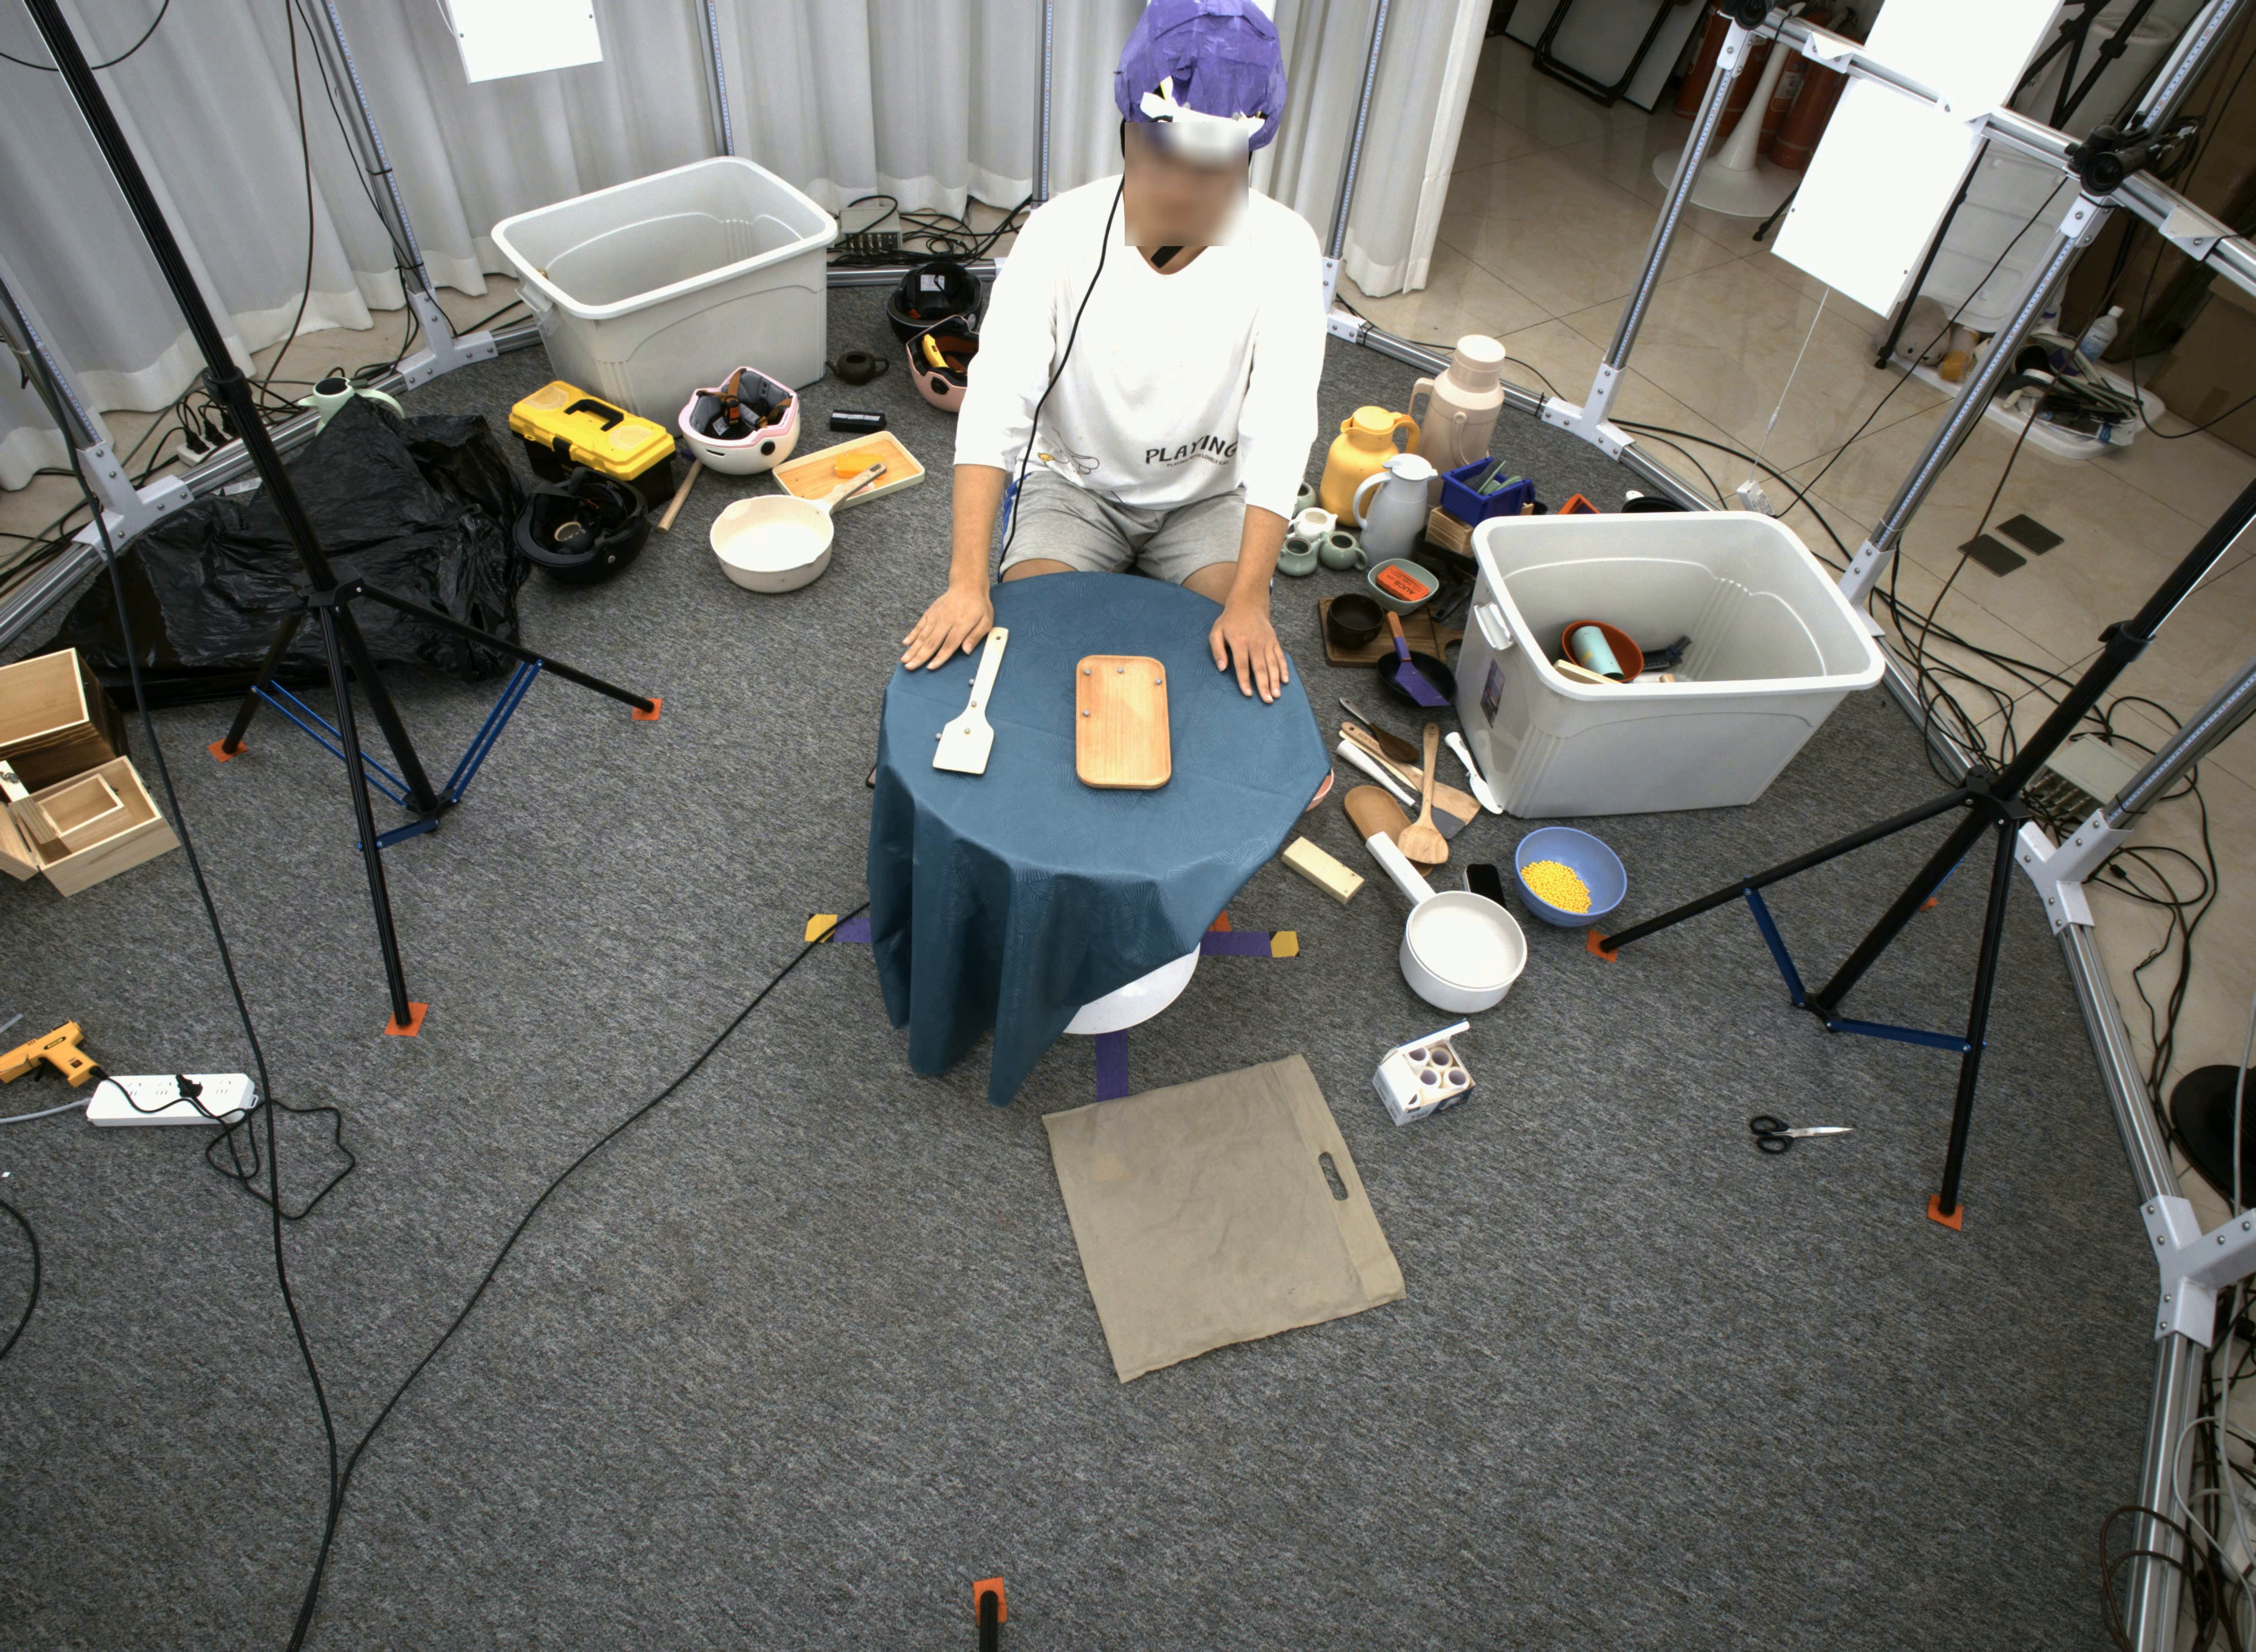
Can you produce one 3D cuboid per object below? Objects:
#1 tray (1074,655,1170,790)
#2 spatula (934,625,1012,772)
[{"bbox_3d":[-0.009,-0.146,1.780,0.130,0.022,0.257,1,49,-1],"label":"tray"},{"bbox_3d":[-0.206,-0.185,1.804,0.072,0.010,0.300,7,49,4],"label":"spatula"}]
